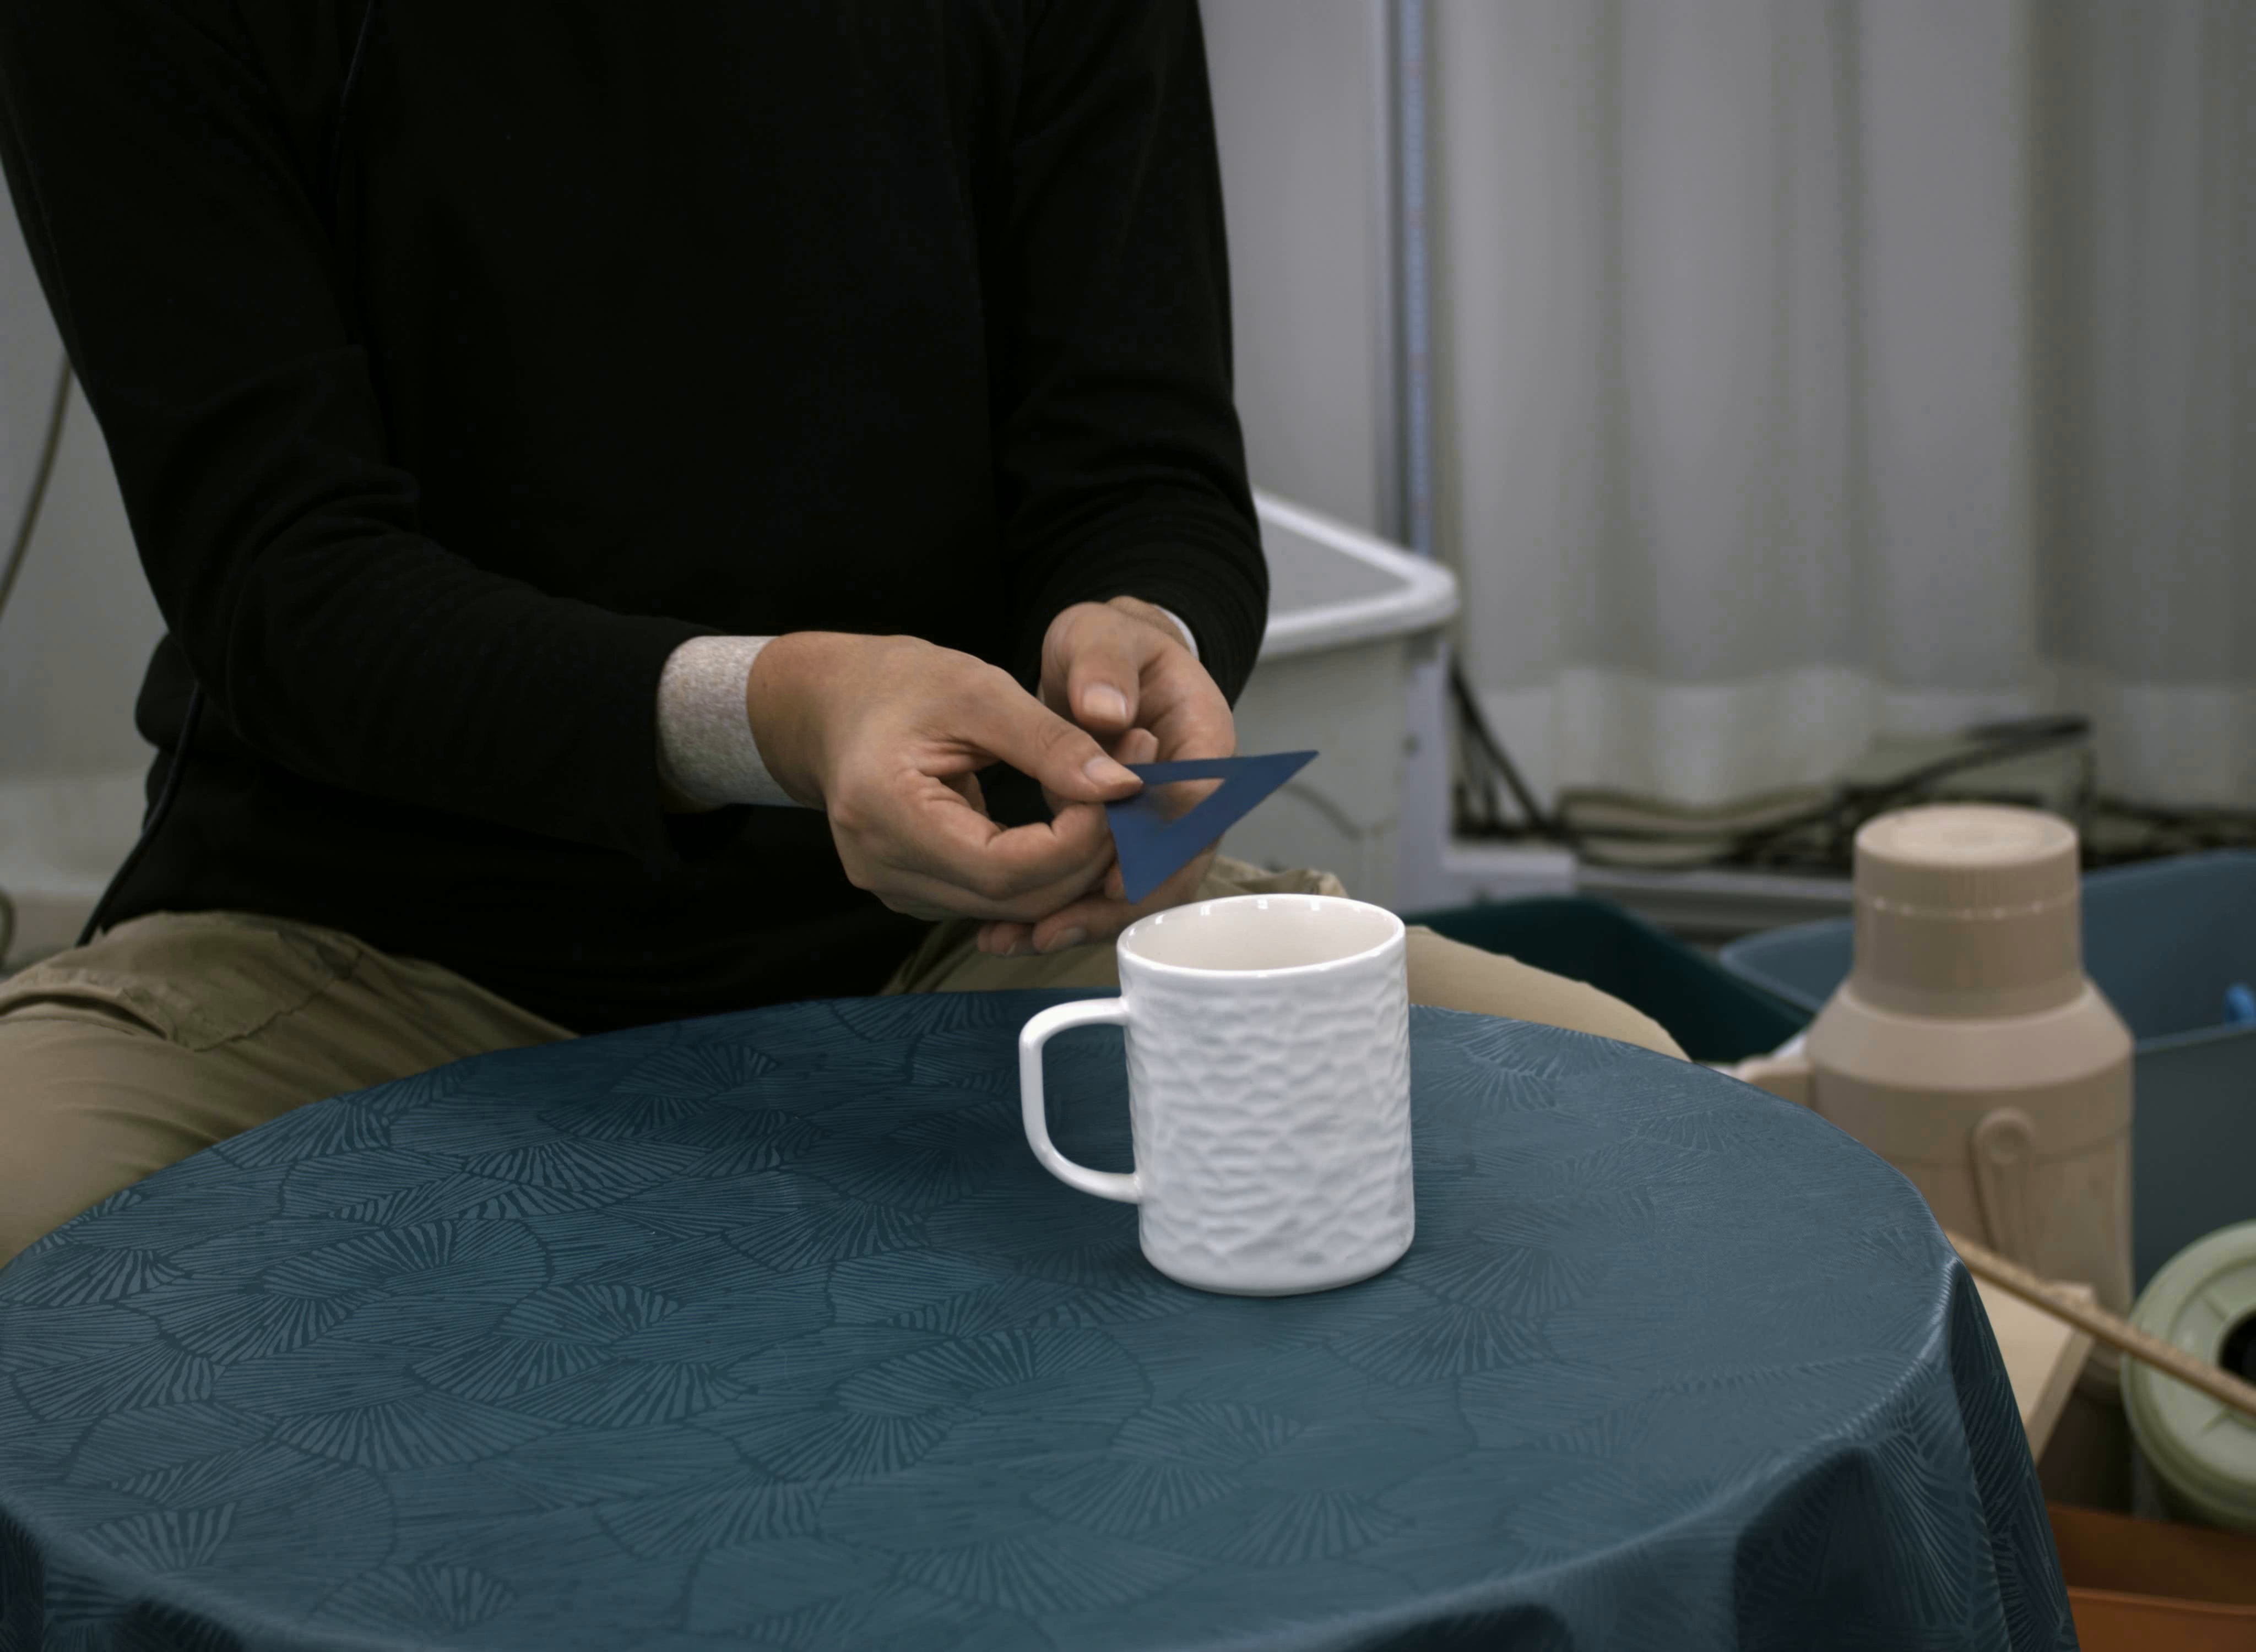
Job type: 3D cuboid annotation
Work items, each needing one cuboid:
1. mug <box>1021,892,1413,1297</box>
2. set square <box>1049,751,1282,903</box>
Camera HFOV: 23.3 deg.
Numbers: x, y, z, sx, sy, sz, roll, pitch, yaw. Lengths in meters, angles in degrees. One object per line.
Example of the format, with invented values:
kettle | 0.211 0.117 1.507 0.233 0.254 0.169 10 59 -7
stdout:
mug | 0.027 0.082 1.635 0.118 0.101 0.085 -5 14 -9
set square | -0.007 -0.004 1.667 0.061 0.006 0.132 9 24 27
